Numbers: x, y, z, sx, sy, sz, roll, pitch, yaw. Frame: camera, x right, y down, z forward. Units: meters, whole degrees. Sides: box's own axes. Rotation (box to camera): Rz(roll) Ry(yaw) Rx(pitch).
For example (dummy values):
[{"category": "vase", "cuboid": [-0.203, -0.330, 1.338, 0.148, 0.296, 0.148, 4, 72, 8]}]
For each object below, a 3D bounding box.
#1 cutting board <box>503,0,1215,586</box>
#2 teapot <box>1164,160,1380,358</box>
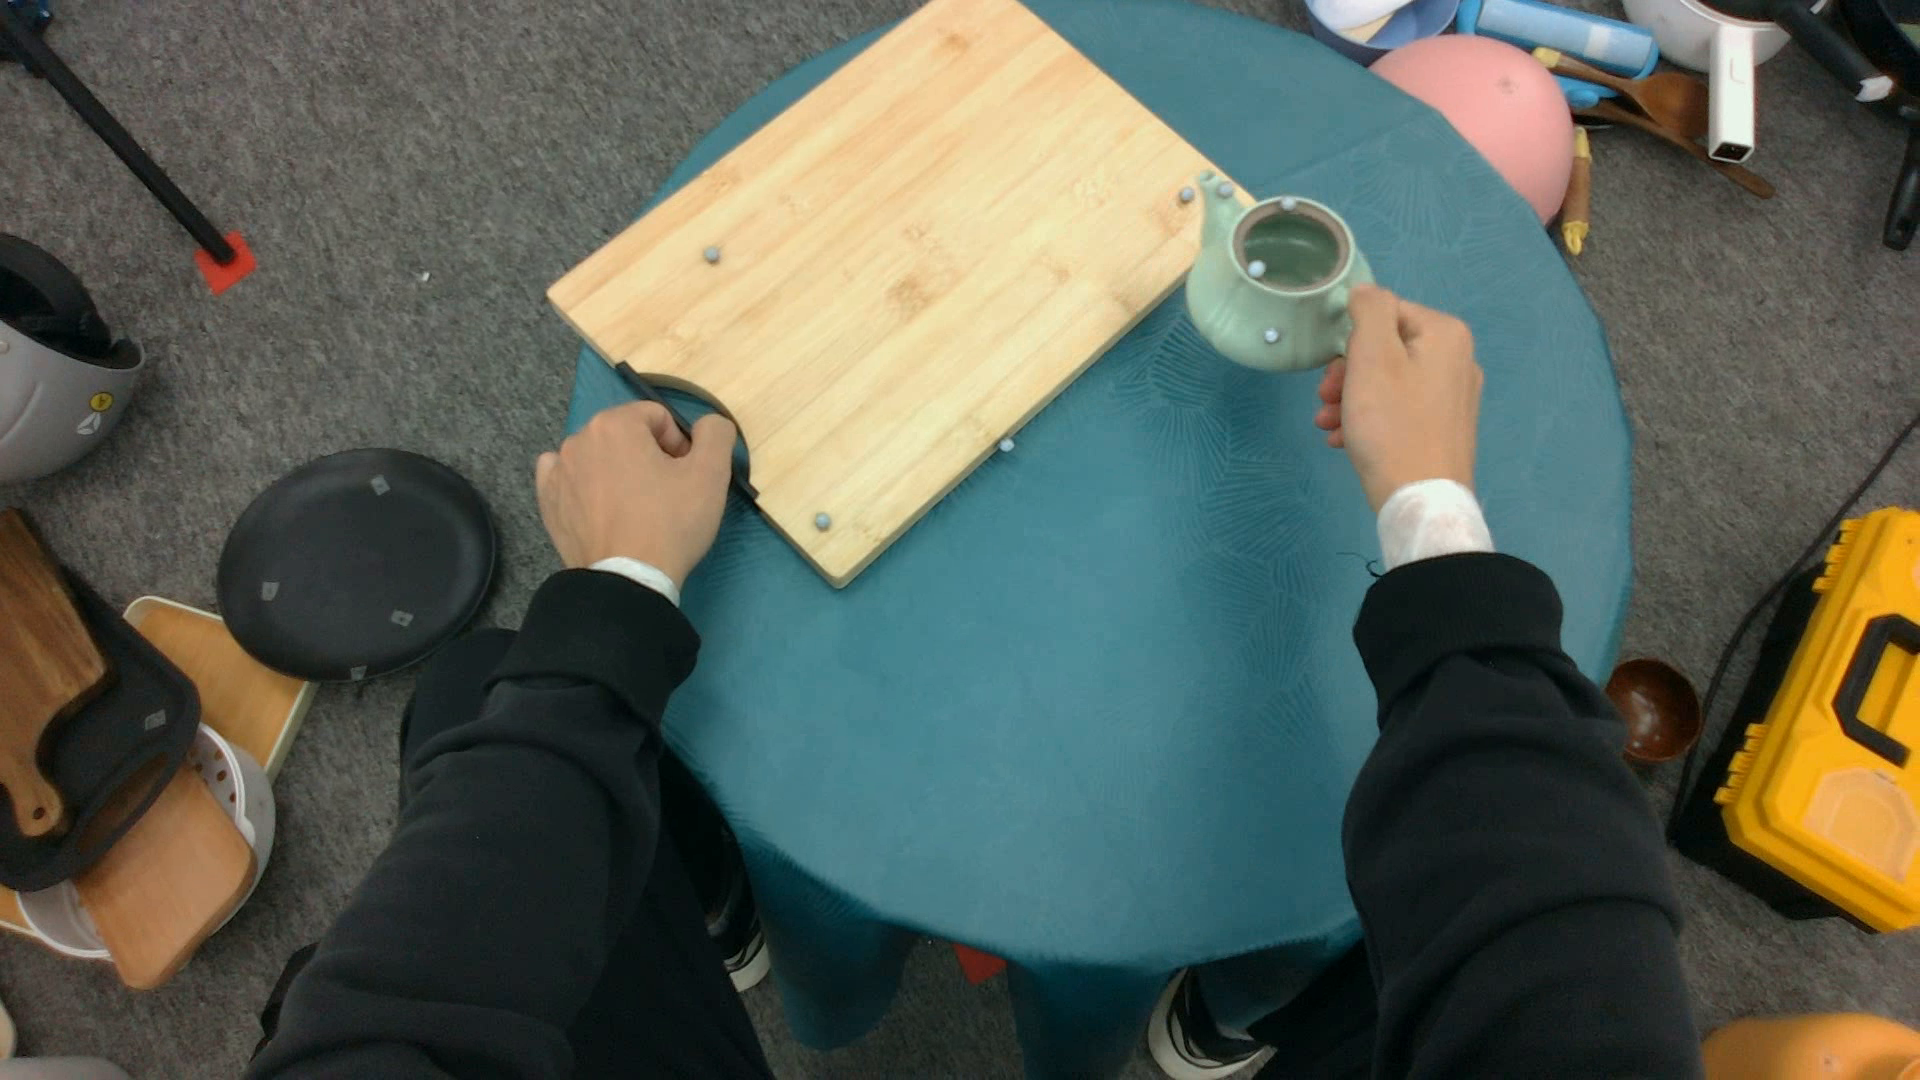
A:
[{"category": "cutting board", "cuboid": [-0.047, -0.169, 0.797, 0.251, 0.023, 0.349, 42, 72, 12]}, {"category": "teapot", "cuboid": [0.158, -0.141, 0.713, 0.096, 0.061, 0.137, -39, 67, -17]}]
